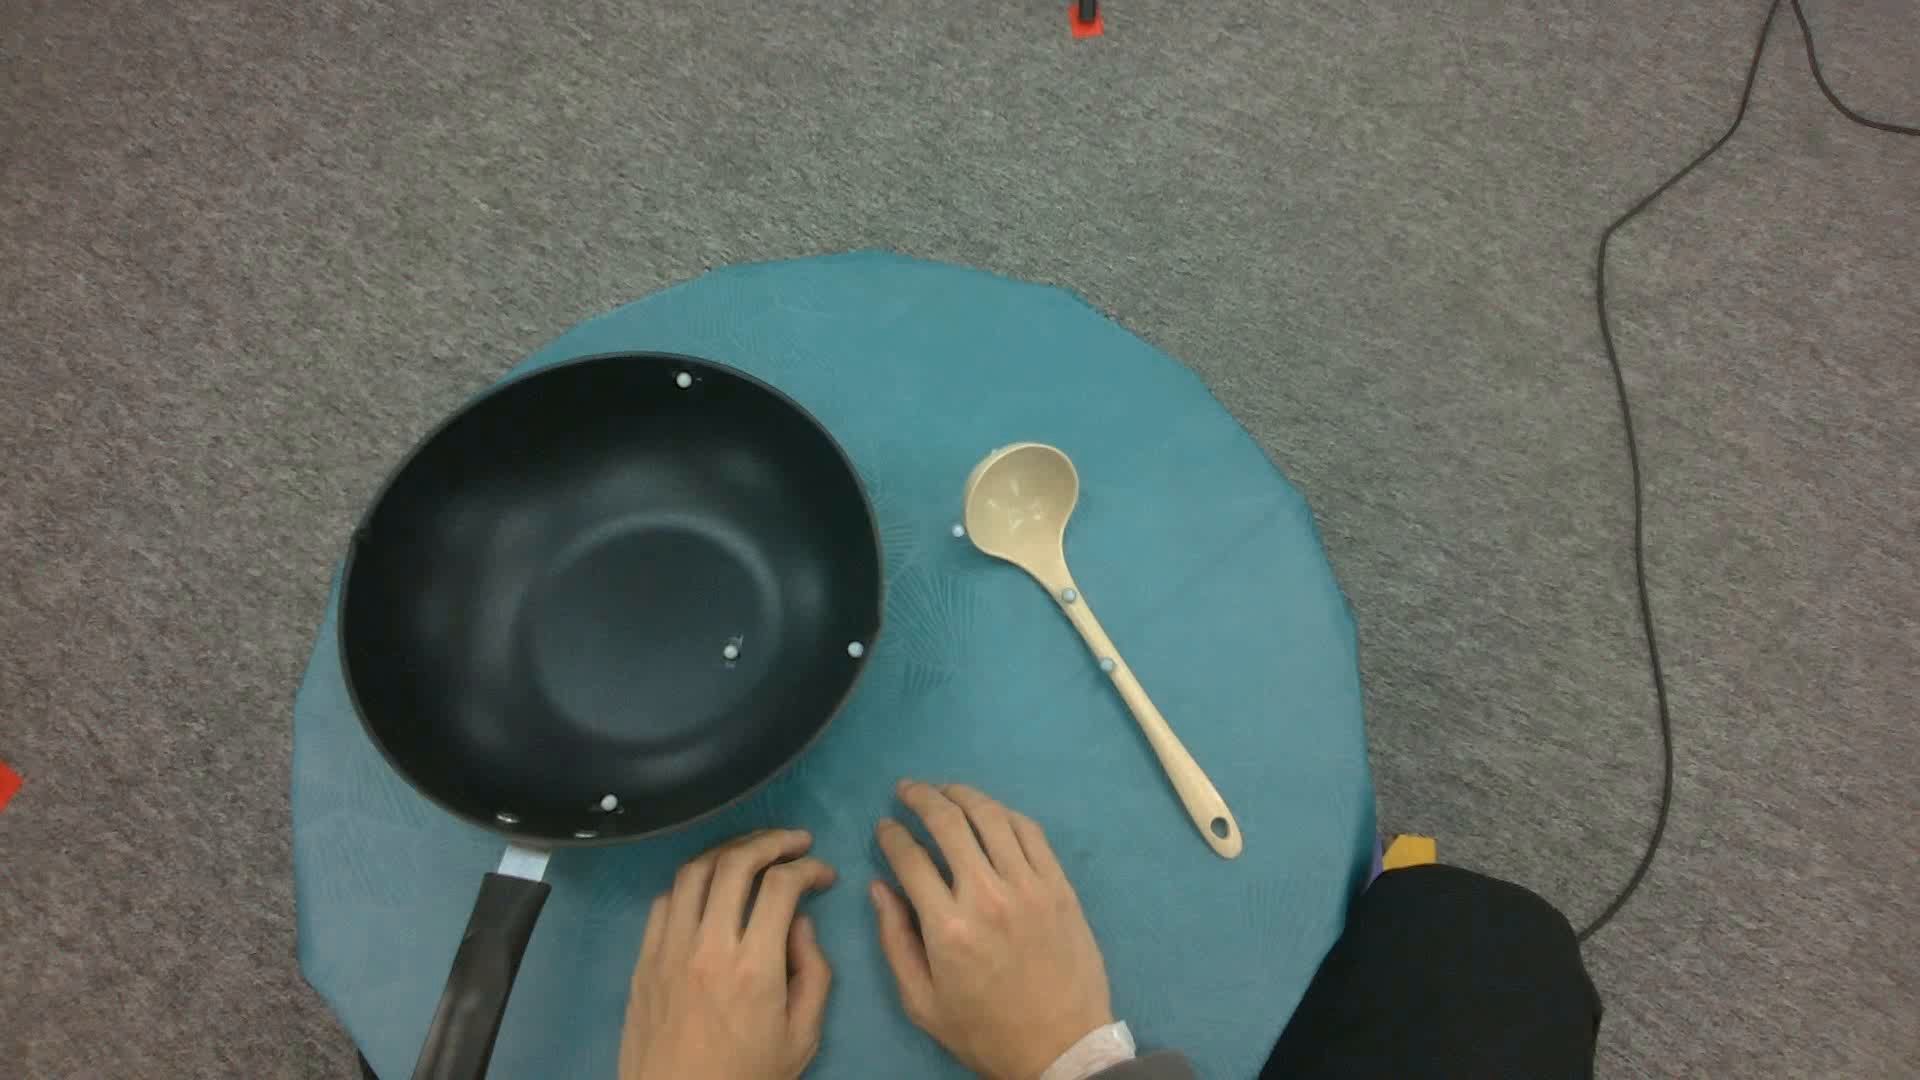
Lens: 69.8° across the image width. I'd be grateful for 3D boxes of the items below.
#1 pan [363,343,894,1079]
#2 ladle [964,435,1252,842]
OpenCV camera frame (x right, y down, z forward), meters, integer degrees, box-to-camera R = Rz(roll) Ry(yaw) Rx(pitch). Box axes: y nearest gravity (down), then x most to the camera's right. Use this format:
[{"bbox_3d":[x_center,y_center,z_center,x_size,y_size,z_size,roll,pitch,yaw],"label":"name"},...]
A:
[{"bbox_3d":[-0.195,0.114,0.733,0.288,0.086,0.465,11,68,6],"label":"pan"},{"bbox_3d":[0.089,0.050,0.761,0.072,0.072,0.255,-28,68,-17],"label":"ladle"}]
